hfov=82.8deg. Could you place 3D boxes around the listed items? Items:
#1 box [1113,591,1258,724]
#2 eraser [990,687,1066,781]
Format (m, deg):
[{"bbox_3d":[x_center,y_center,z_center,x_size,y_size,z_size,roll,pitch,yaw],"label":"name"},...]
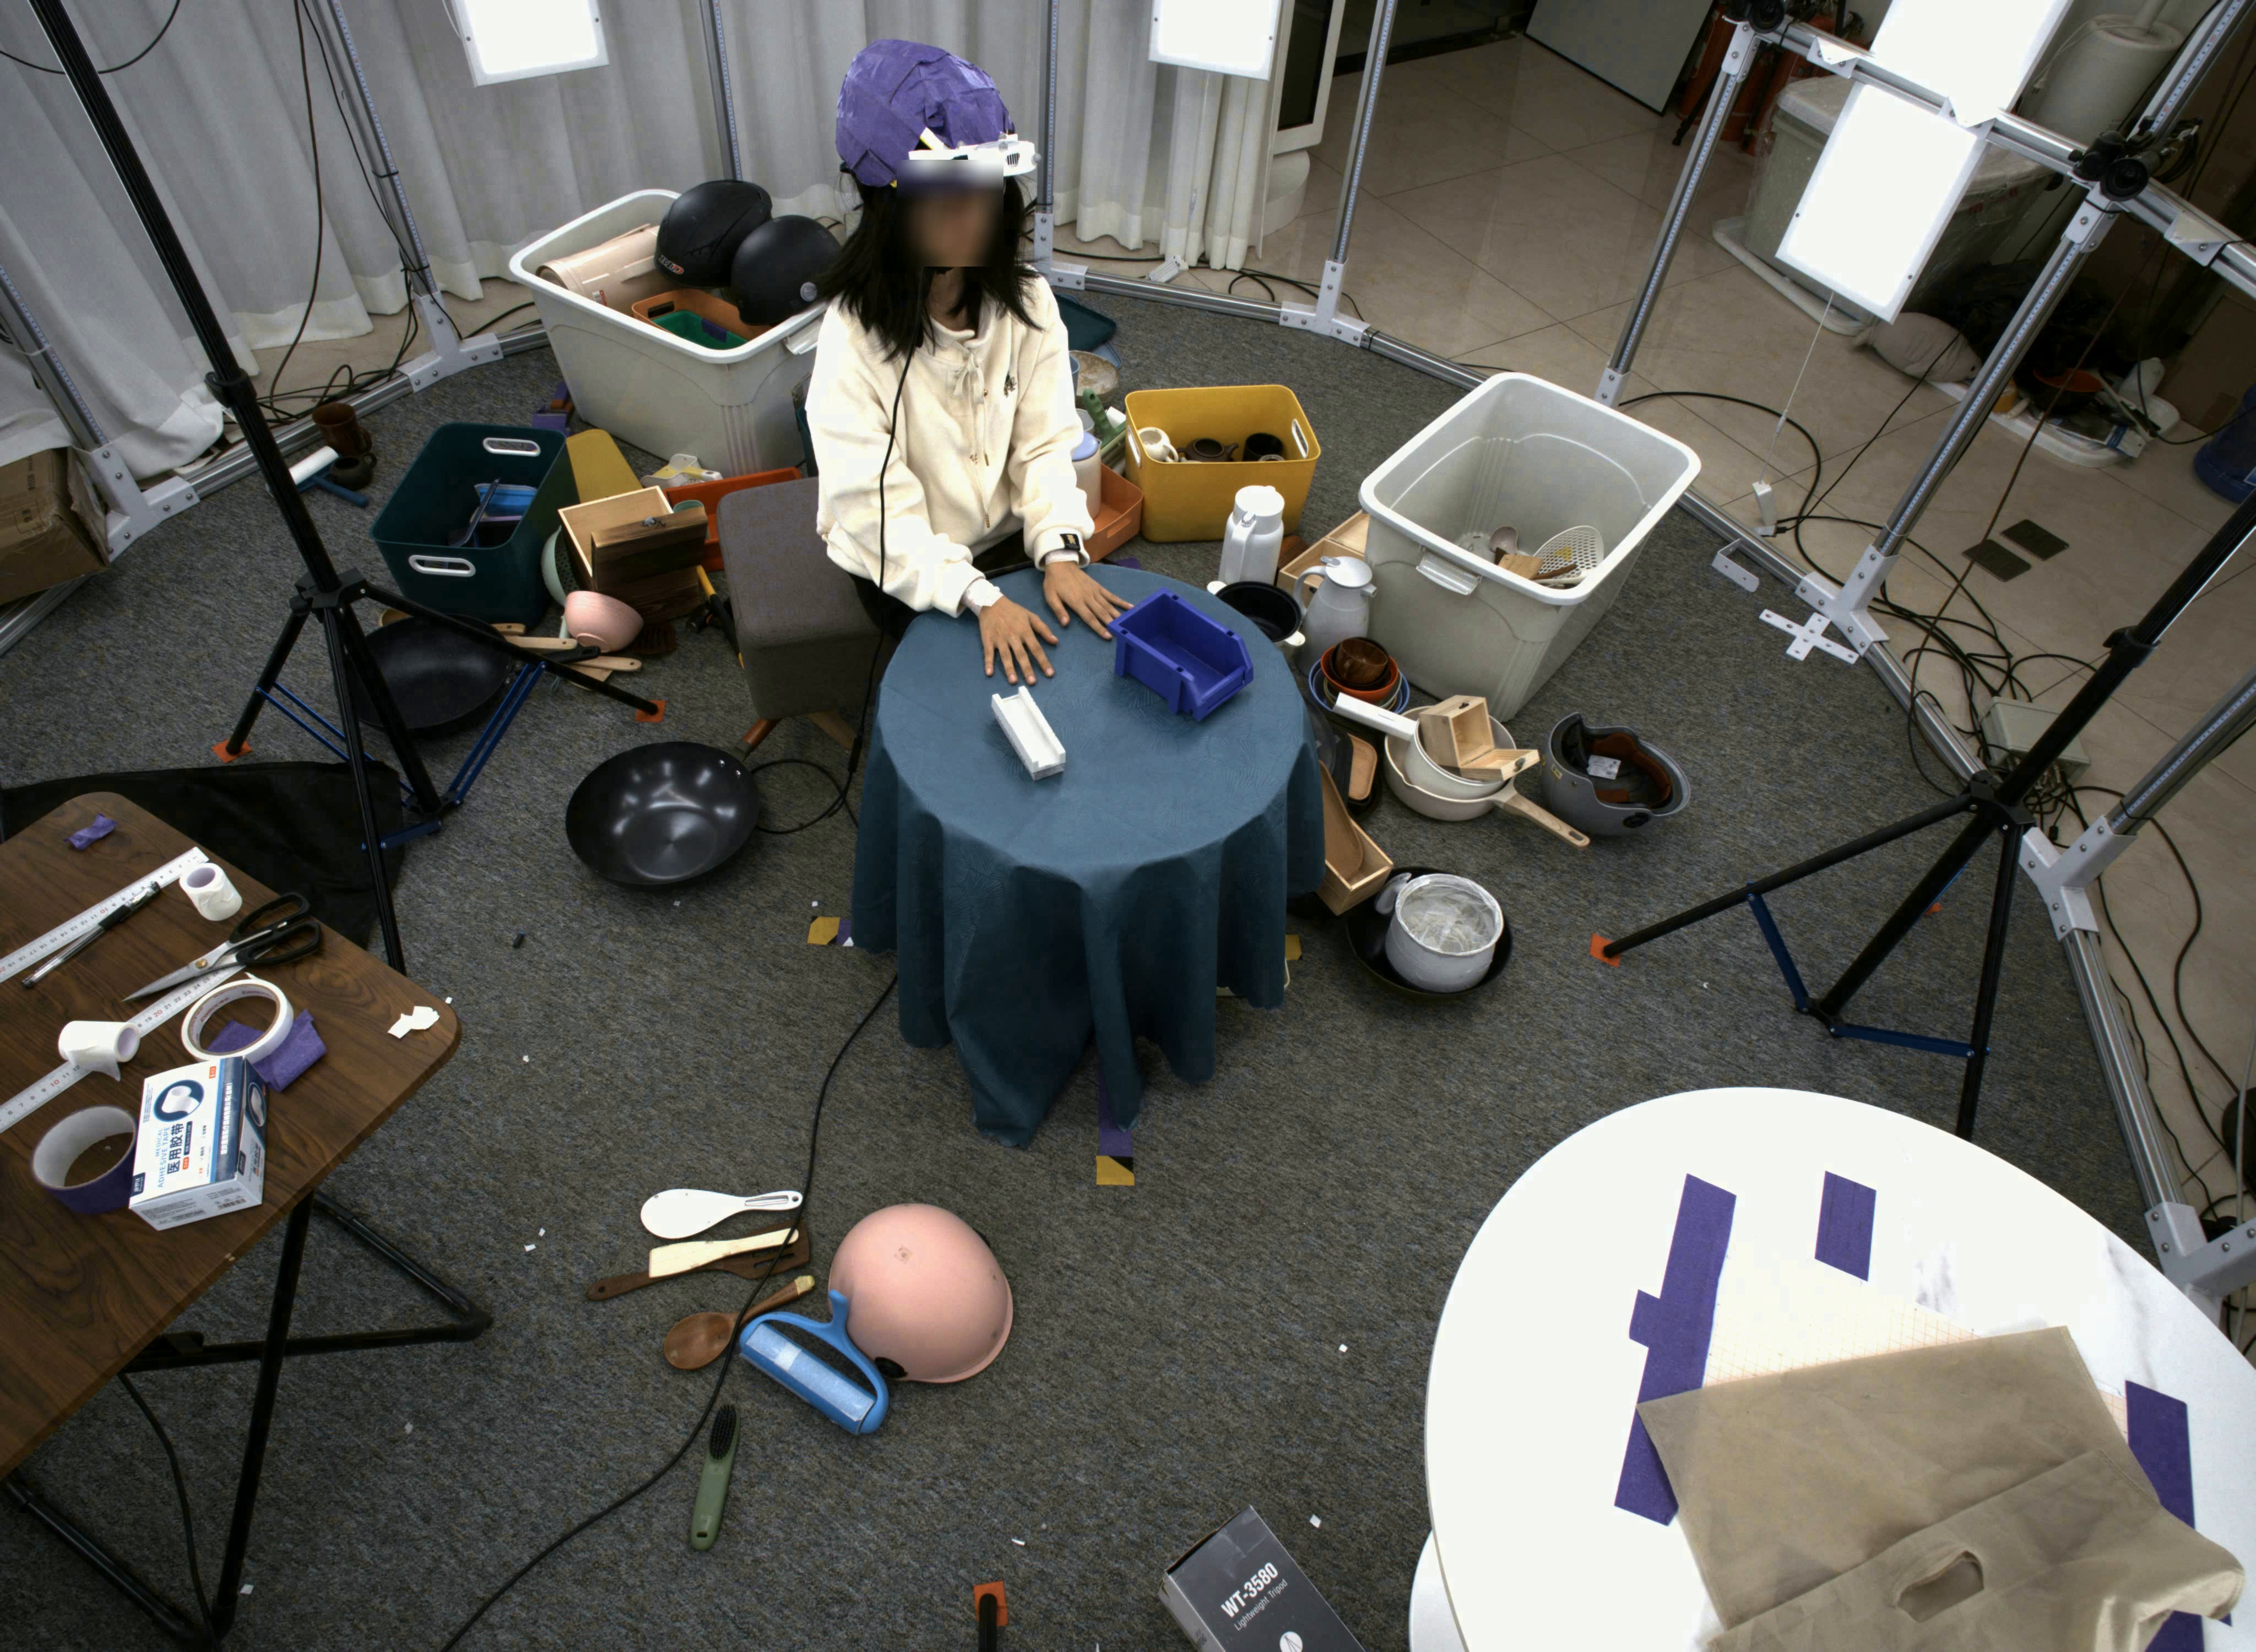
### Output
[{"bbox_3d":[0.083,-0.238,1.829,0.125,0.080,0.182,-35,58,-29],"label":"box"},{"bbox_3d":[-0.137,-0.126,1.739,0.050,0.045,0.137,-22,56,-19],"label":"eraser"}]
